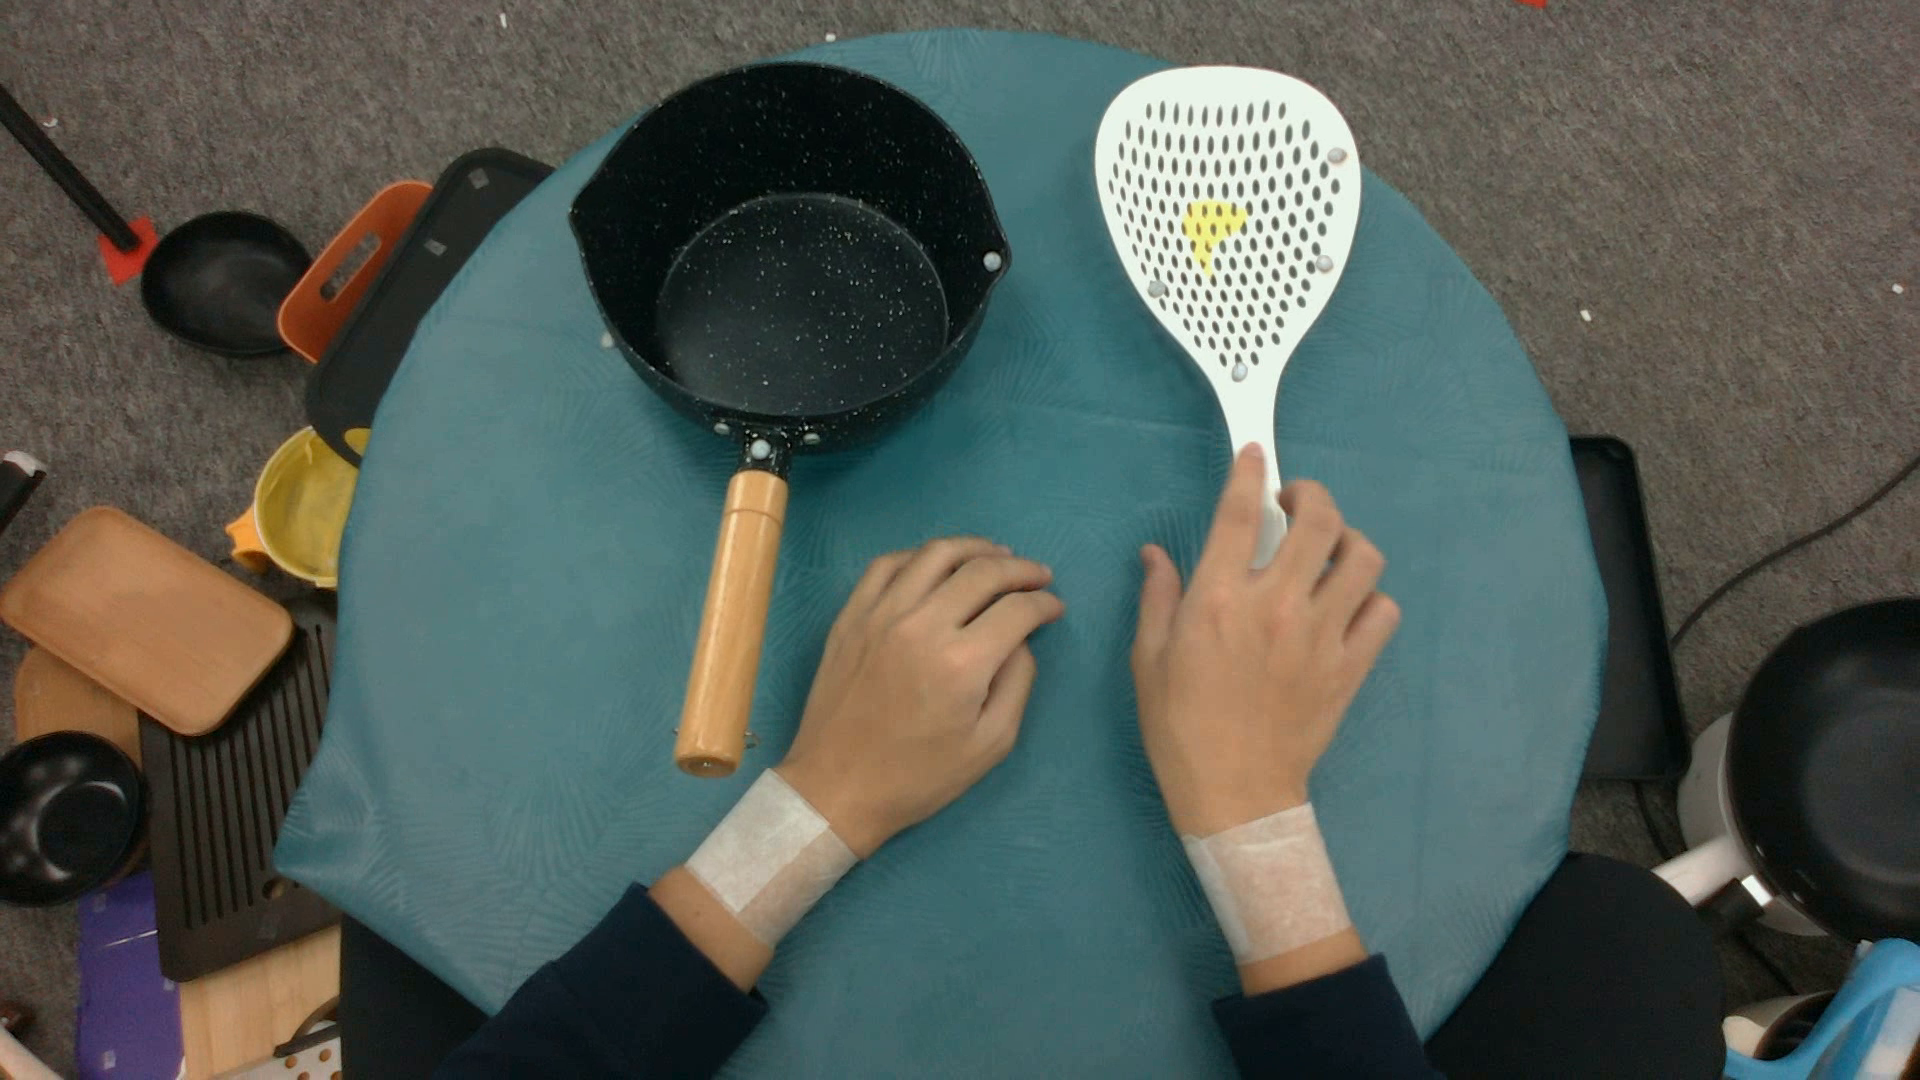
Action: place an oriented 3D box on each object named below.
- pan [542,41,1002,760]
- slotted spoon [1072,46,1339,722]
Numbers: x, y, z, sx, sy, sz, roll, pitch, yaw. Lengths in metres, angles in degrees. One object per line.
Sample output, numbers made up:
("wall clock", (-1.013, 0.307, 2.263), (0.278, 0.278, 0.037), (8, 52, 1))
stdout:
("pan", (-0.090, -0.063, 0.619), (0.207, 0.108, 0.344), (5, 69, -3))
("slotted spoon", (0.132, -0.086, 0.675), (0.137, 0.050, 0.349), (-3, 69, -6))
